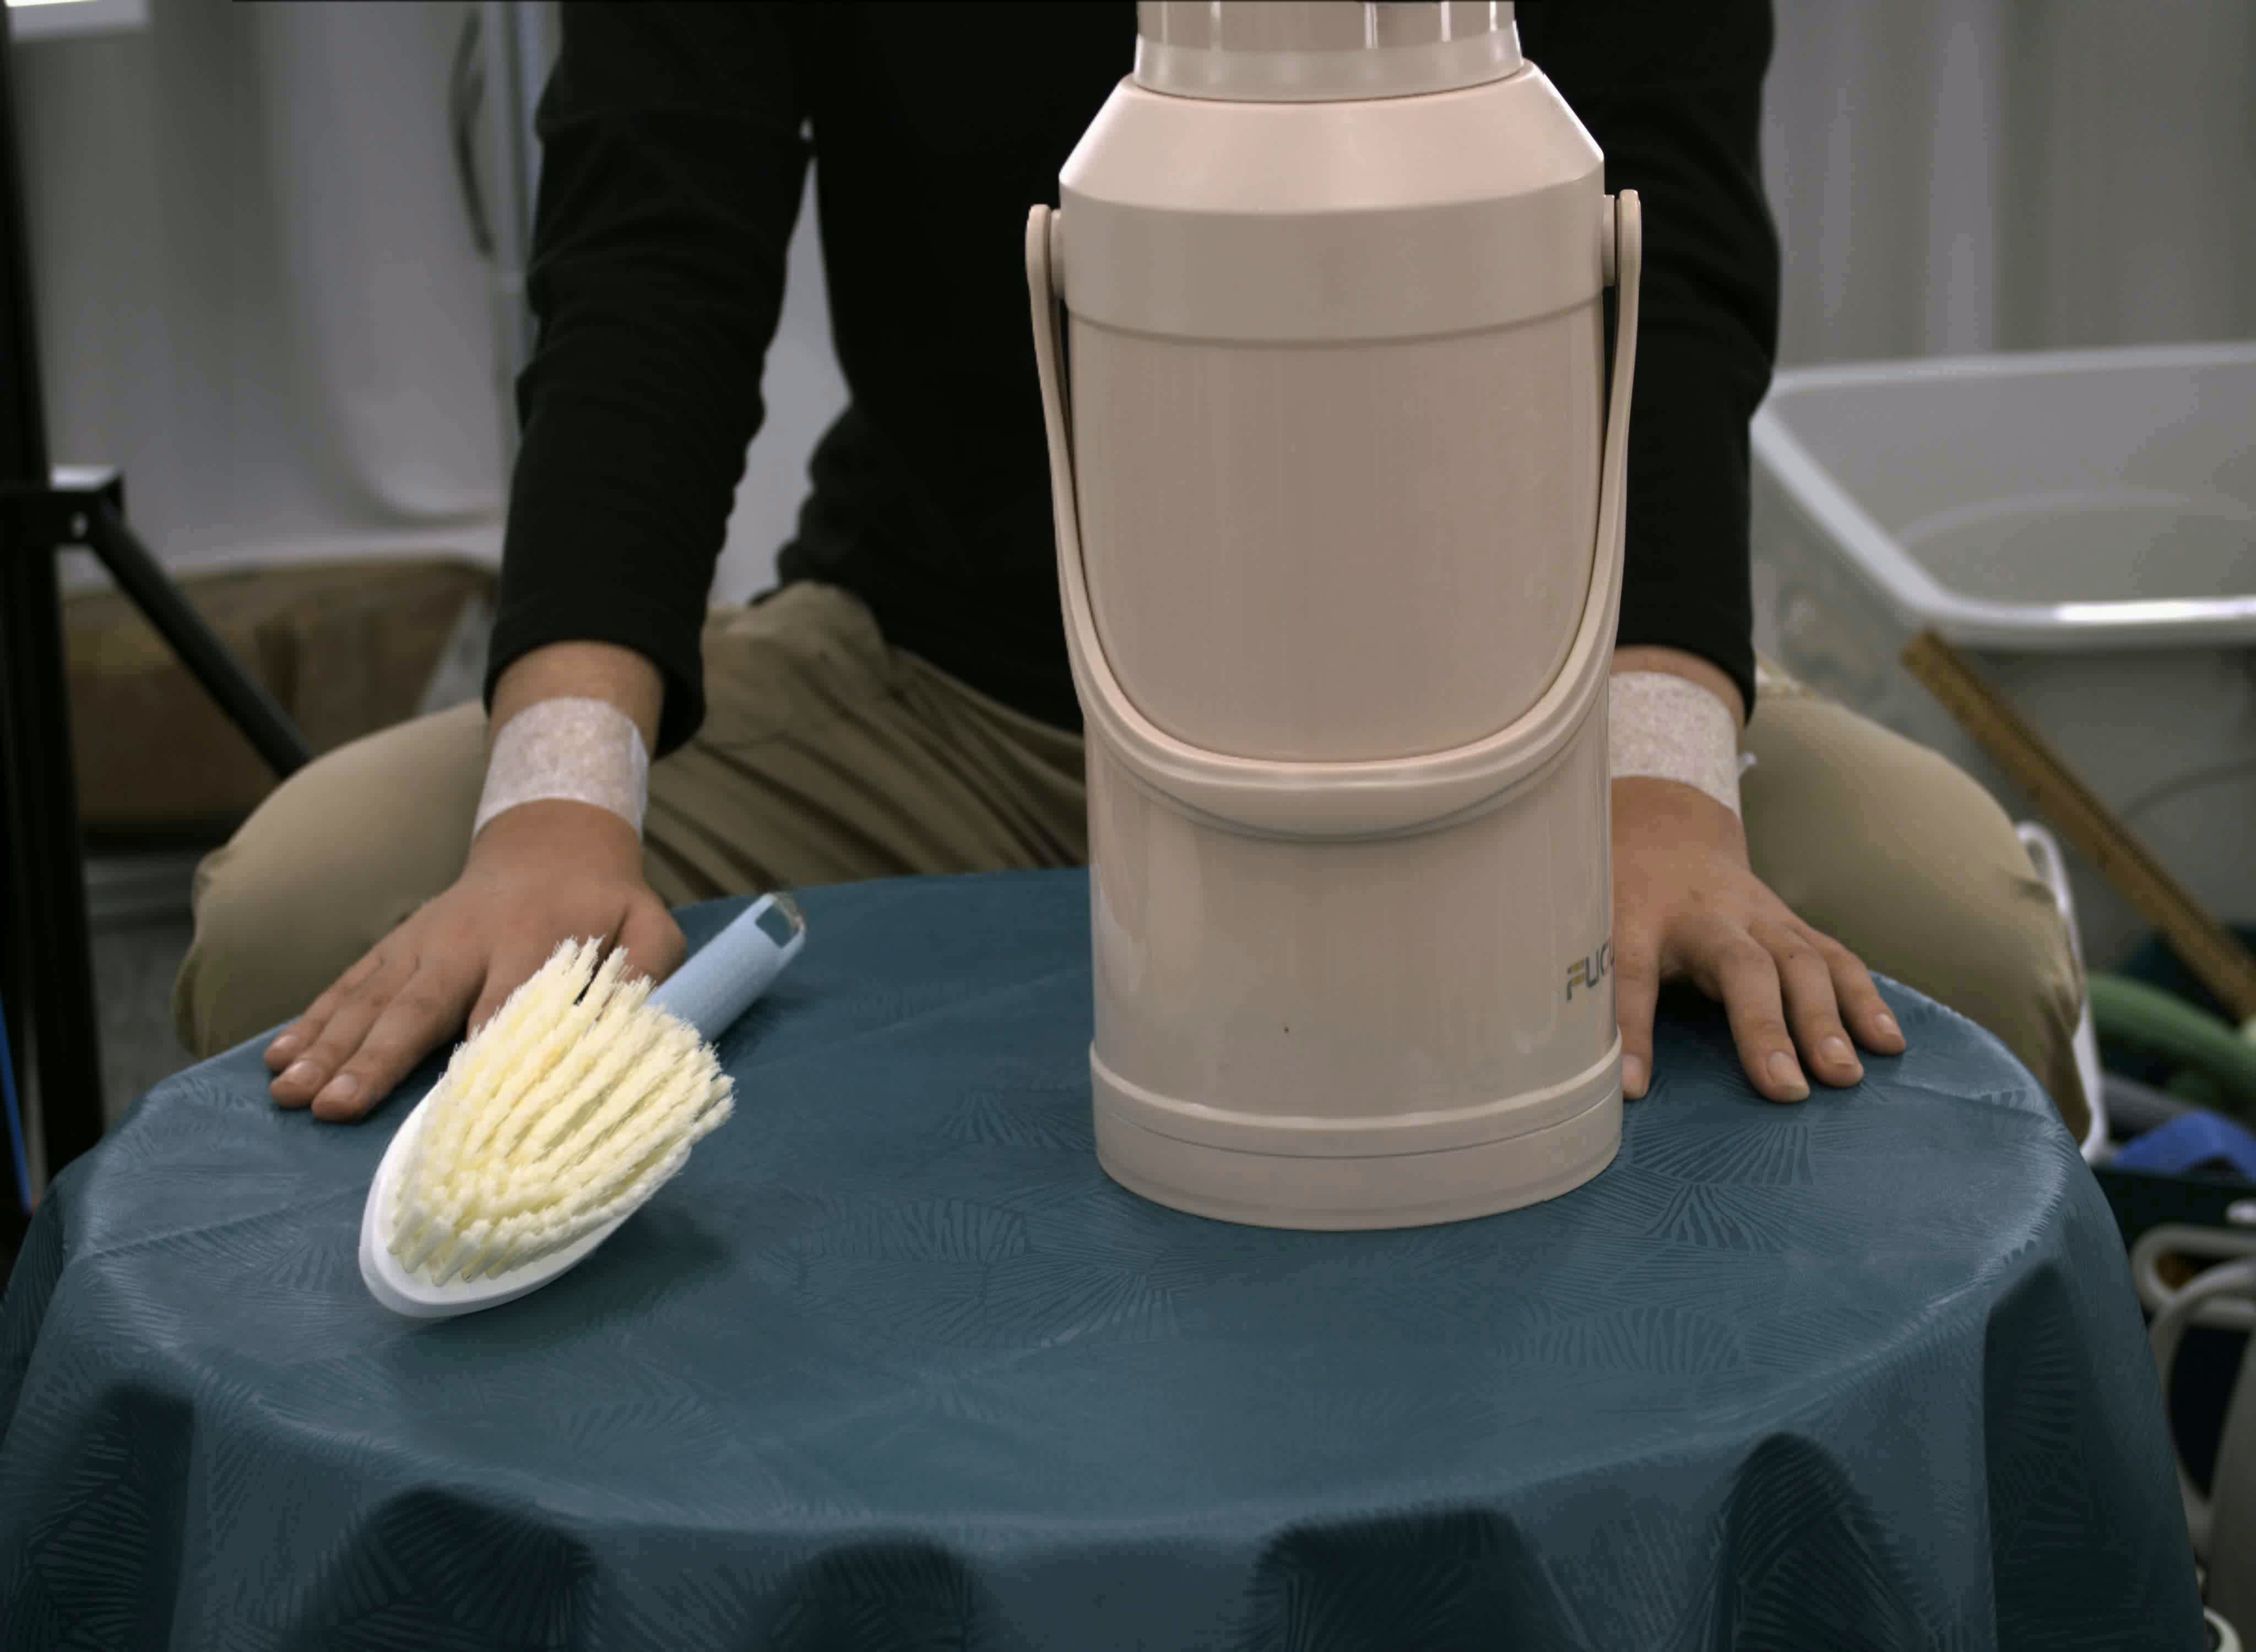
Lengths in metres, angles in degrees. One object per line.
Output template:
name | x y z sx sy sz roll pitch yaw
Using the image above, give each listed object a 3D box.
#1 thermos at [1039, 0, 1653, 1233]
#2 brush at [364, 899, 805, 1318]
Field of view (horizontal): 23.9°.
thermos | 0.068 -0.100 1.554 0.175 0.406 0.207 -2 15 6
brush | -0.142 0.058 1.609 0.085 0.083 0.322 -4 16 18
